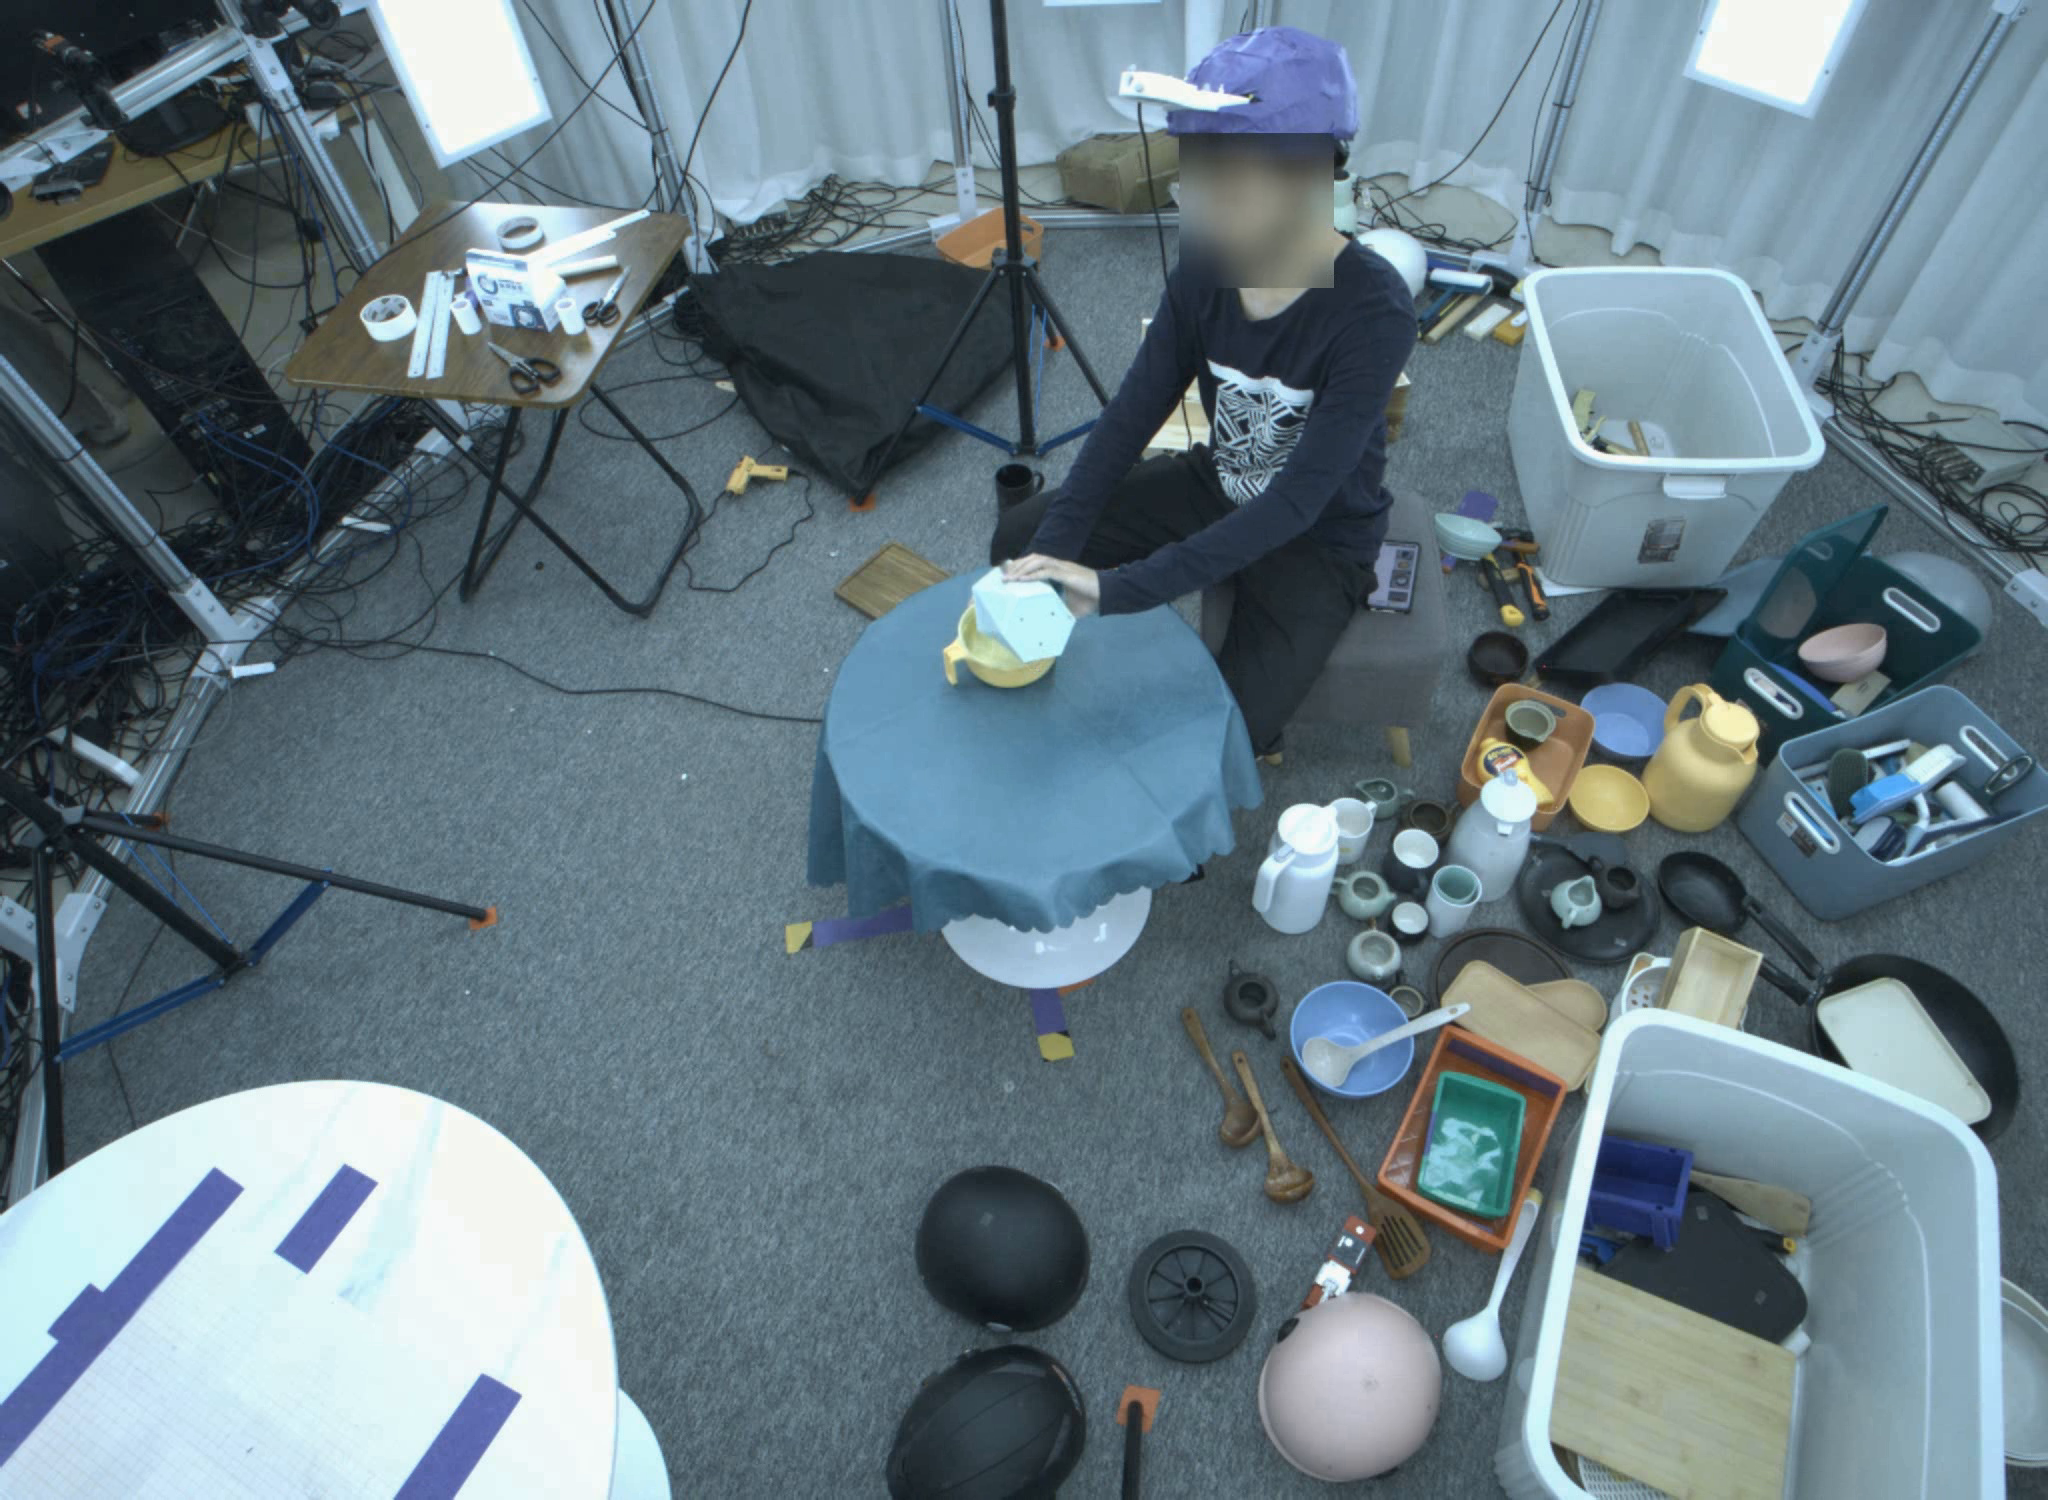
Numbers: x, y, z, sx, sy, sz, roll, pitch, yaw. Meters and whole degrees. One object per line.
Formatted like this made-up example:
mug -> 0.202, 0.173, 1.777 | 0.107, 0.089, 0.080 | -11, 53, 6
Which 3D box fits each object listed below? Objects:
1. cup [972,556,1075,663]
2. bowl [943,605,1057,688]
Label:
cup -> 0.000, -0.192, 1.721 | 0.116, 0.132, 0.160 | -9, 23, -11
bowl -> -0.034, -0.156, 1.852 | 0.181, 0.075, 0.150 | -25, 57, -17
